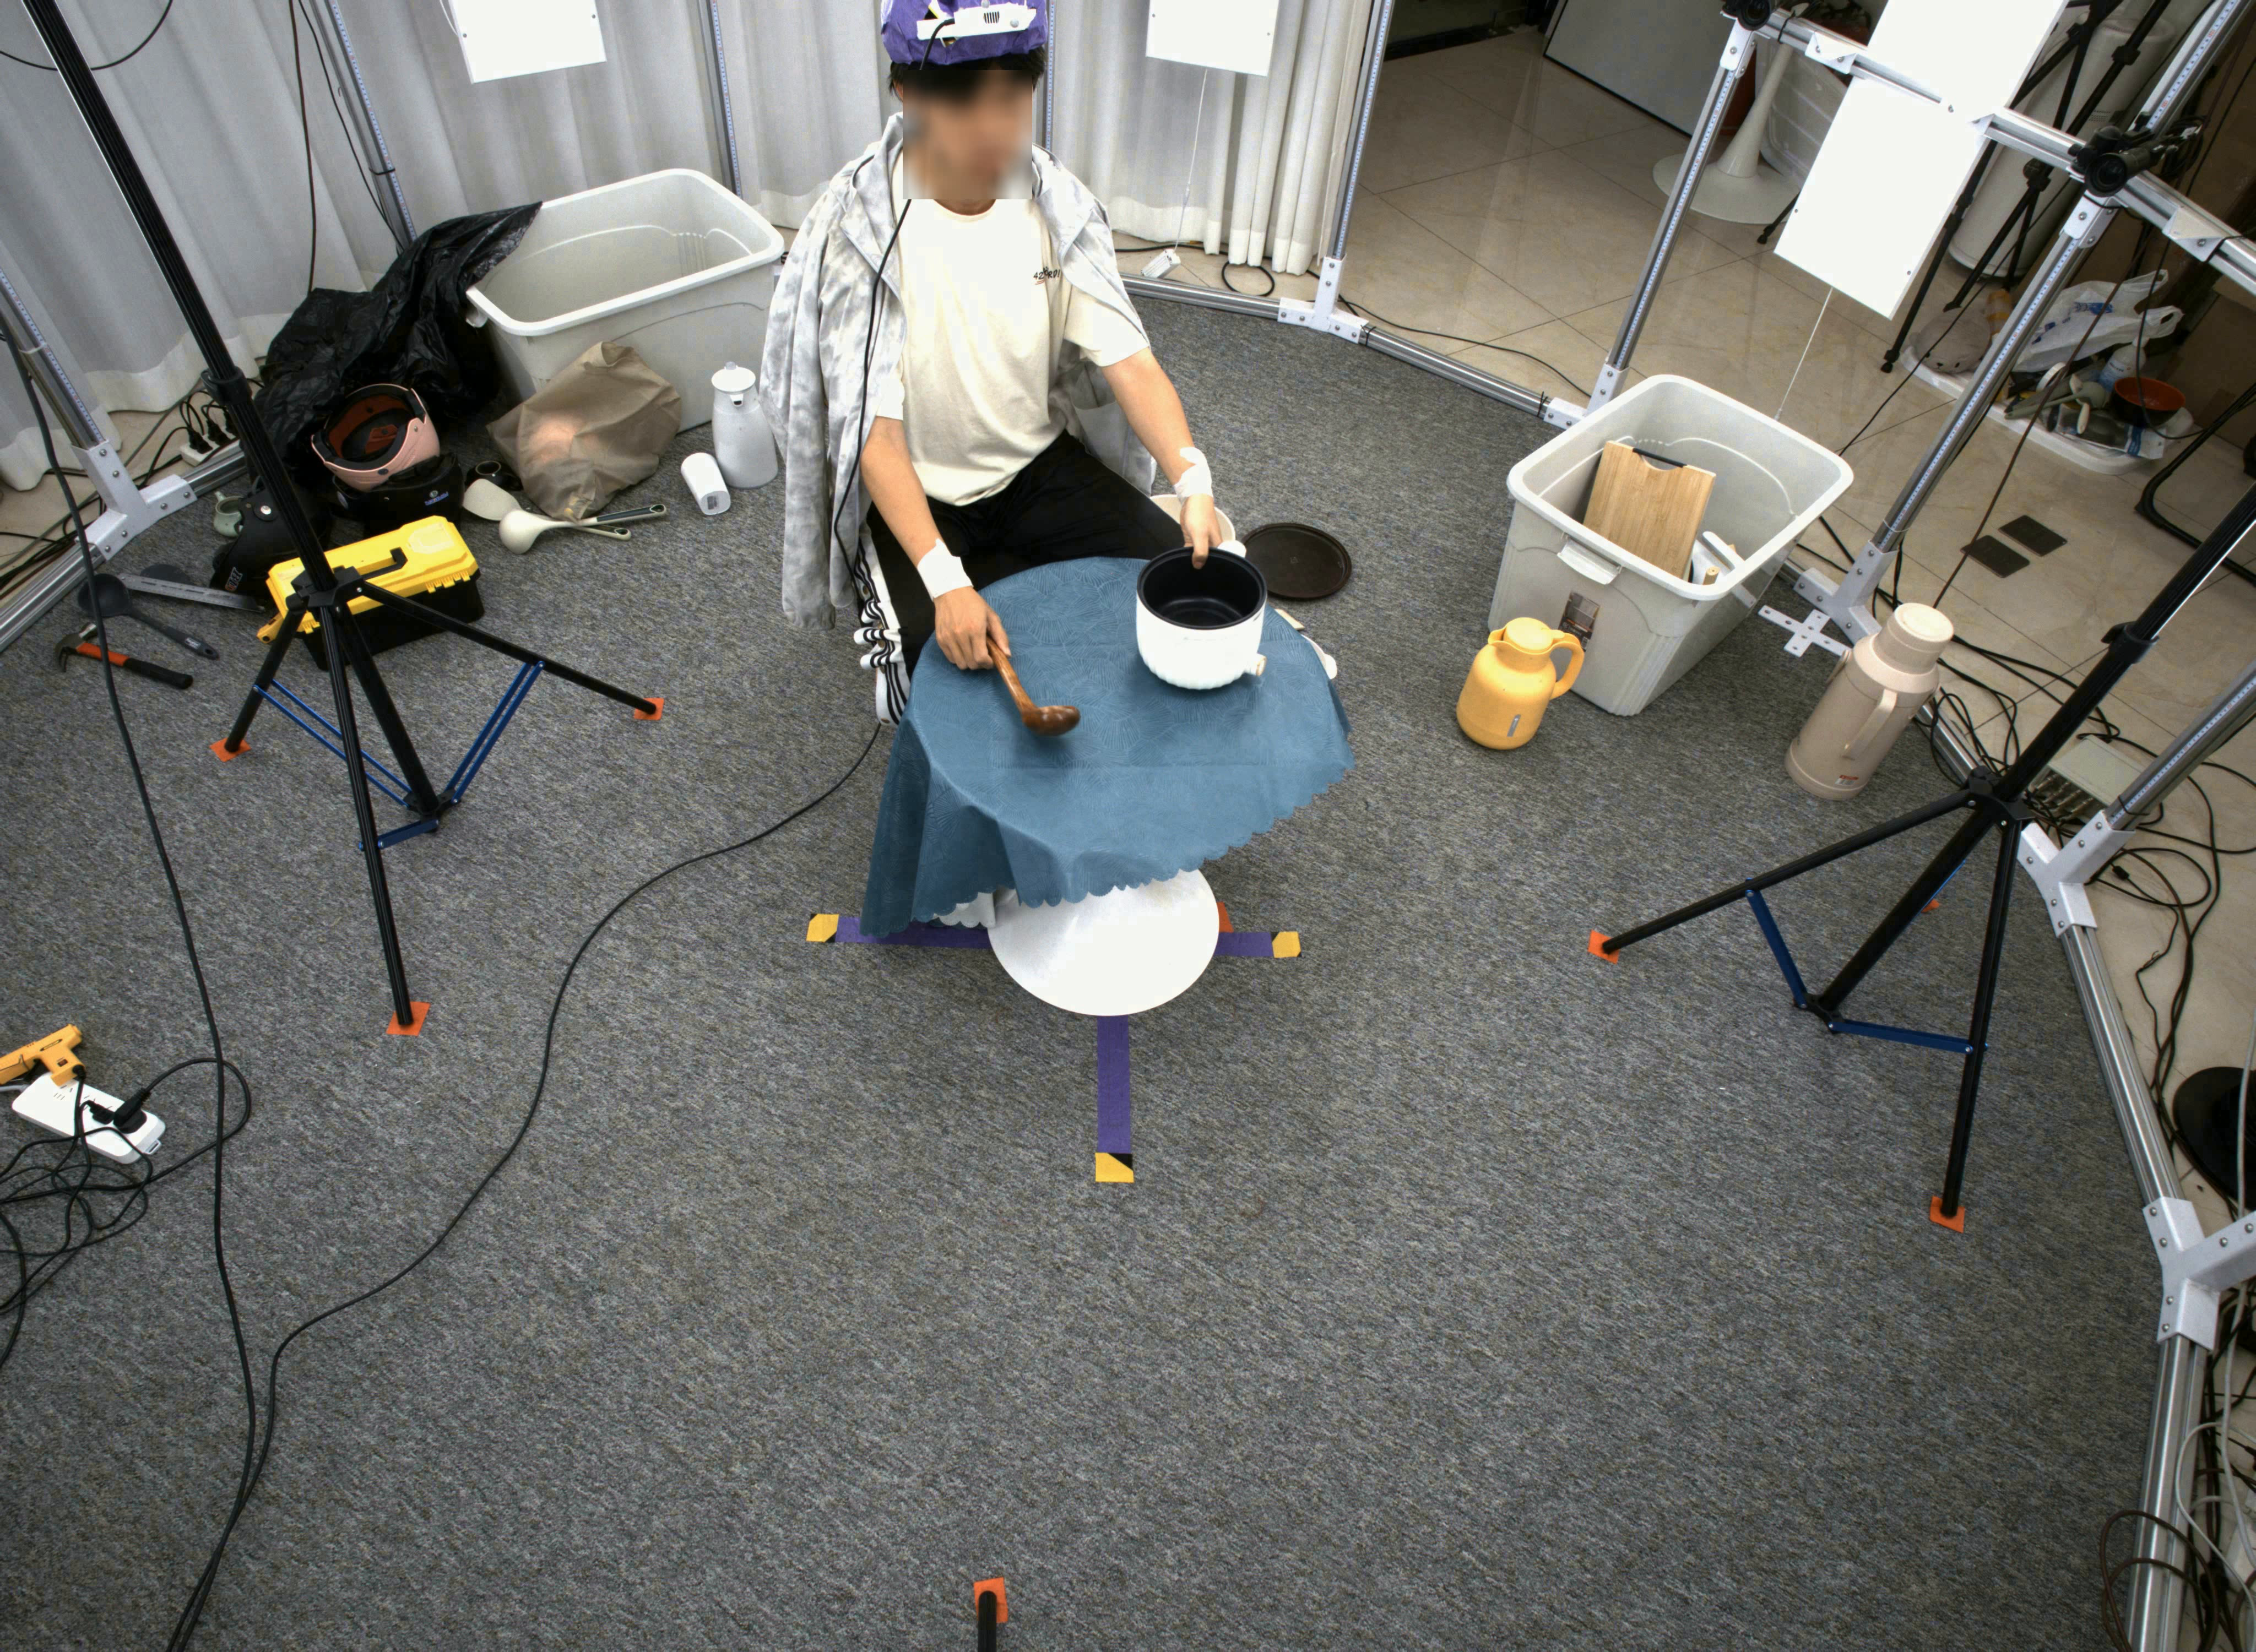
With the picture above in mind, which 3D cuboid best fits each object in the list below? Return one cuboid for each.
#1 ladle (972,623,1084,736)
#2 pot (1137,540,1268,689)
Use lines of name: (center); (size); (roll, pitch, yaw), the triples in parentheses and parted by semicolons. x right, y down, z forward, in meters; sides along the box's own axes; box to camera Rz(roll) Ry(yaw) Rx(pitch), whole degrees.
ladle: (-0.147, -0.219, 1.781); (0.081, 0.075, 0.280); (10, 38, -42)
pot: (0.108, -0.289, 1.826); (0.192, 0.139, 0.244); (19, 50, 20)
